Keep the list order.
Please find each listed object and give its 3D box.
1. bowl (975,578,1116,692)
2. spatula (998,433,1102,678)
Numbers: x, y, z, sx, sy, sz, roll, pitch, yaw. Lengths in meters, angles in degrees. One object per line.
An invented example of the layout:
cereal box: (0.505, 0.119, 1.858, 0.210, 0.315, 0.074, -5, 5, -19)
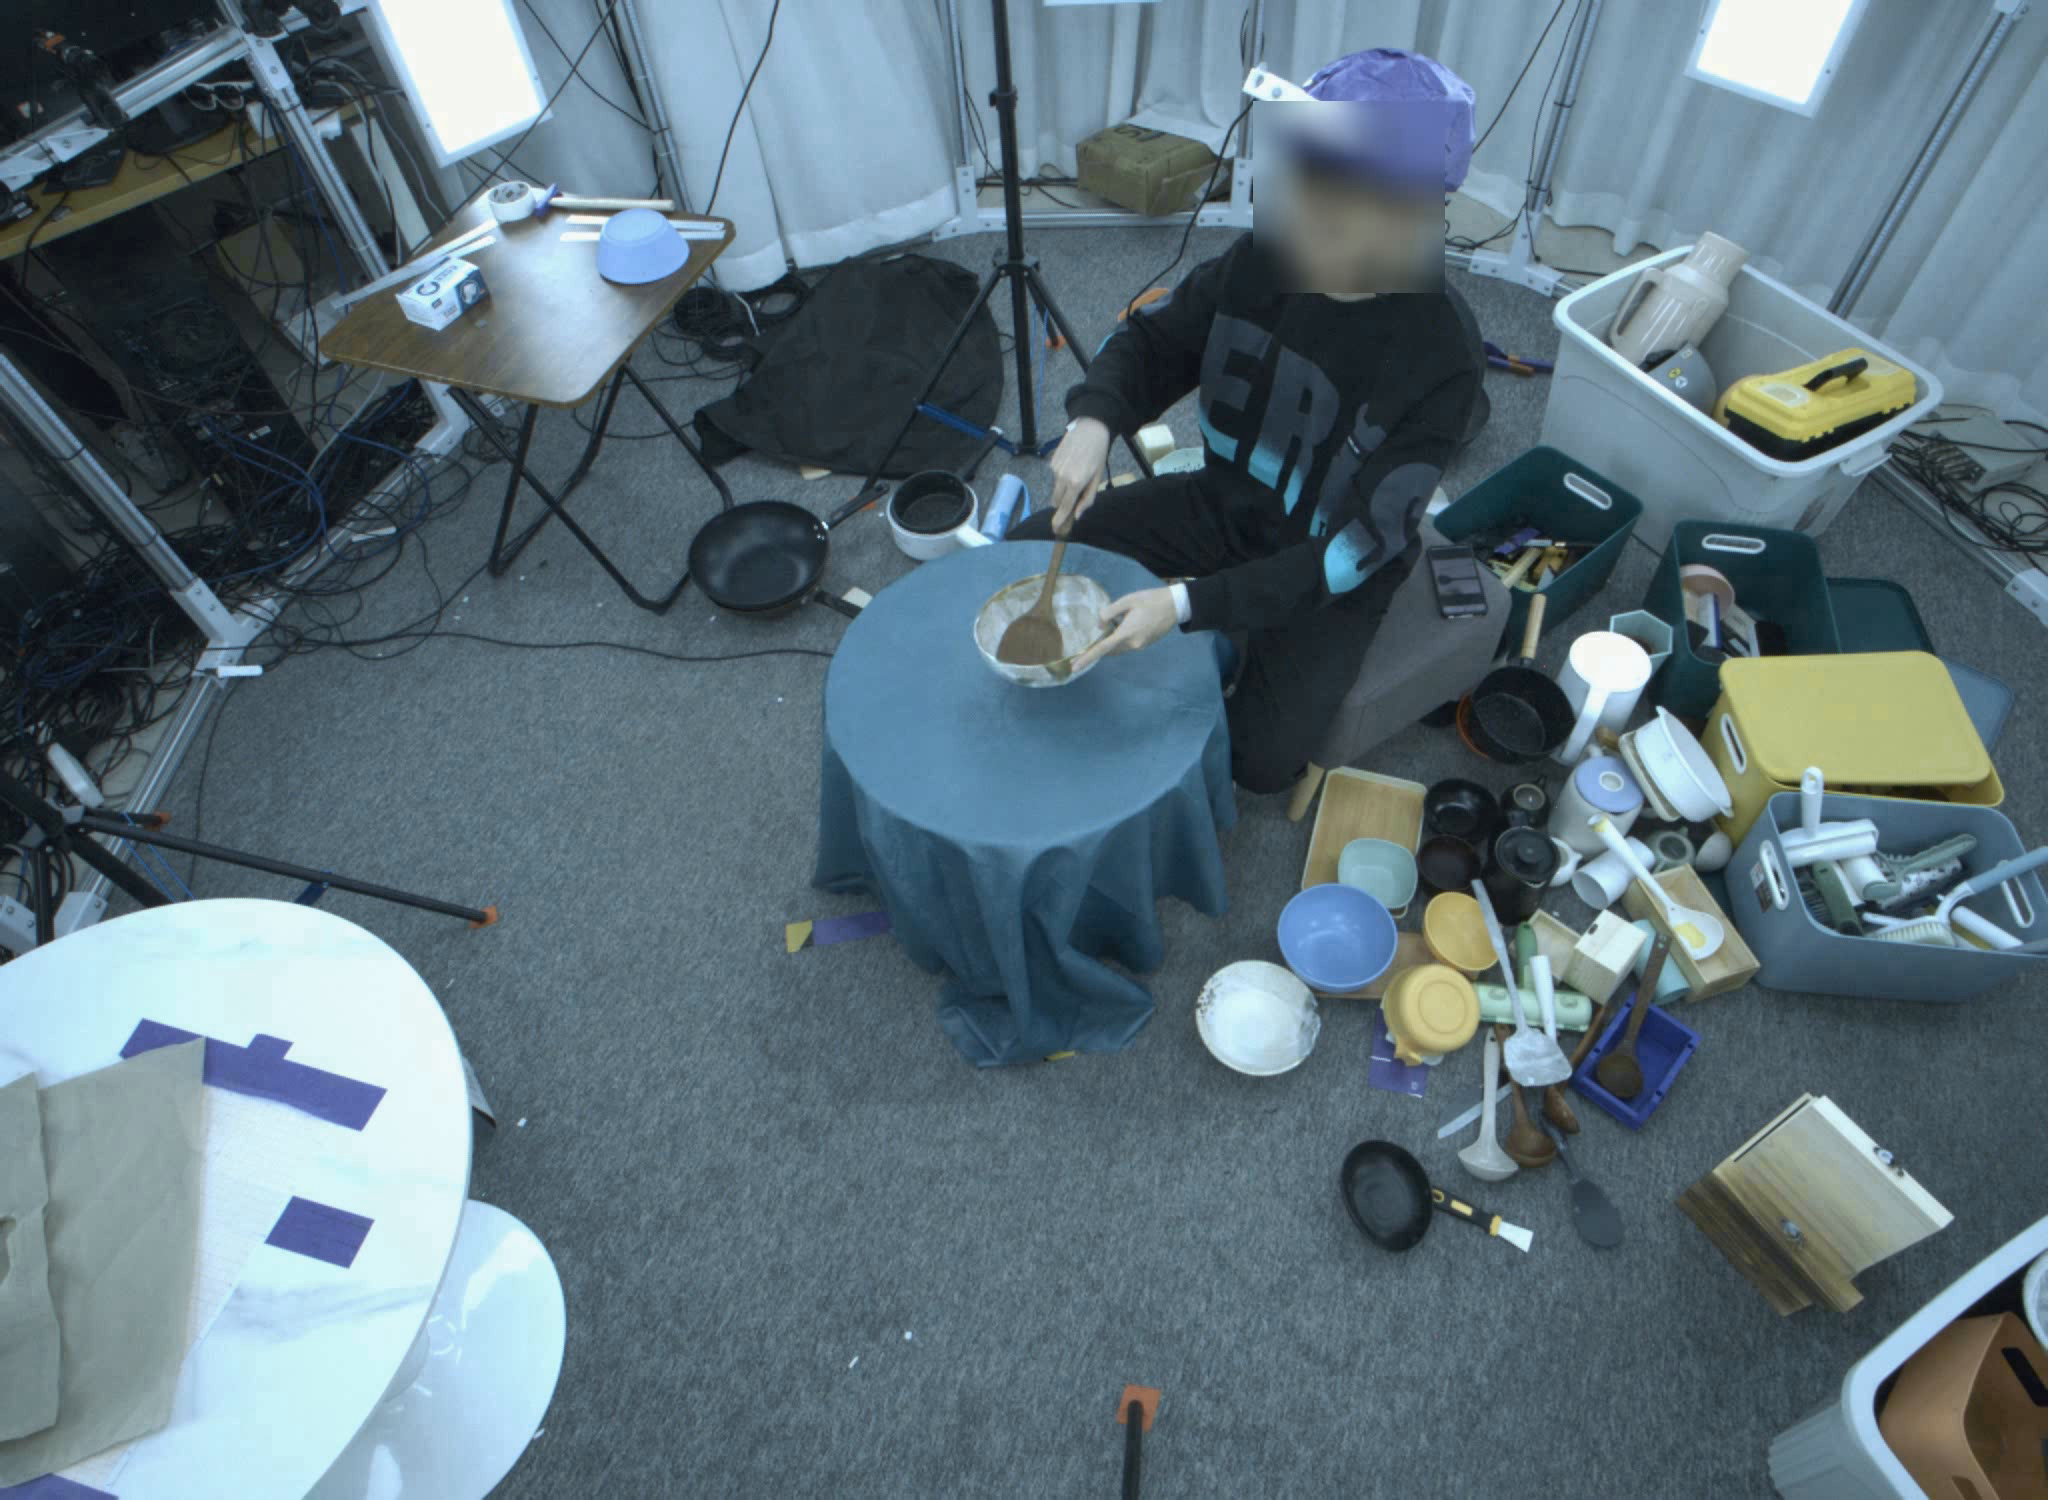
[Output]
bowl: (0.040, -0.154, 1.788, 0.214, 0.096, 0.212, -6, 46, 7)
spatula: (0.053, -0.287, 1.787, 0.095, 0.016, 0.385, 15, 86, 9)
